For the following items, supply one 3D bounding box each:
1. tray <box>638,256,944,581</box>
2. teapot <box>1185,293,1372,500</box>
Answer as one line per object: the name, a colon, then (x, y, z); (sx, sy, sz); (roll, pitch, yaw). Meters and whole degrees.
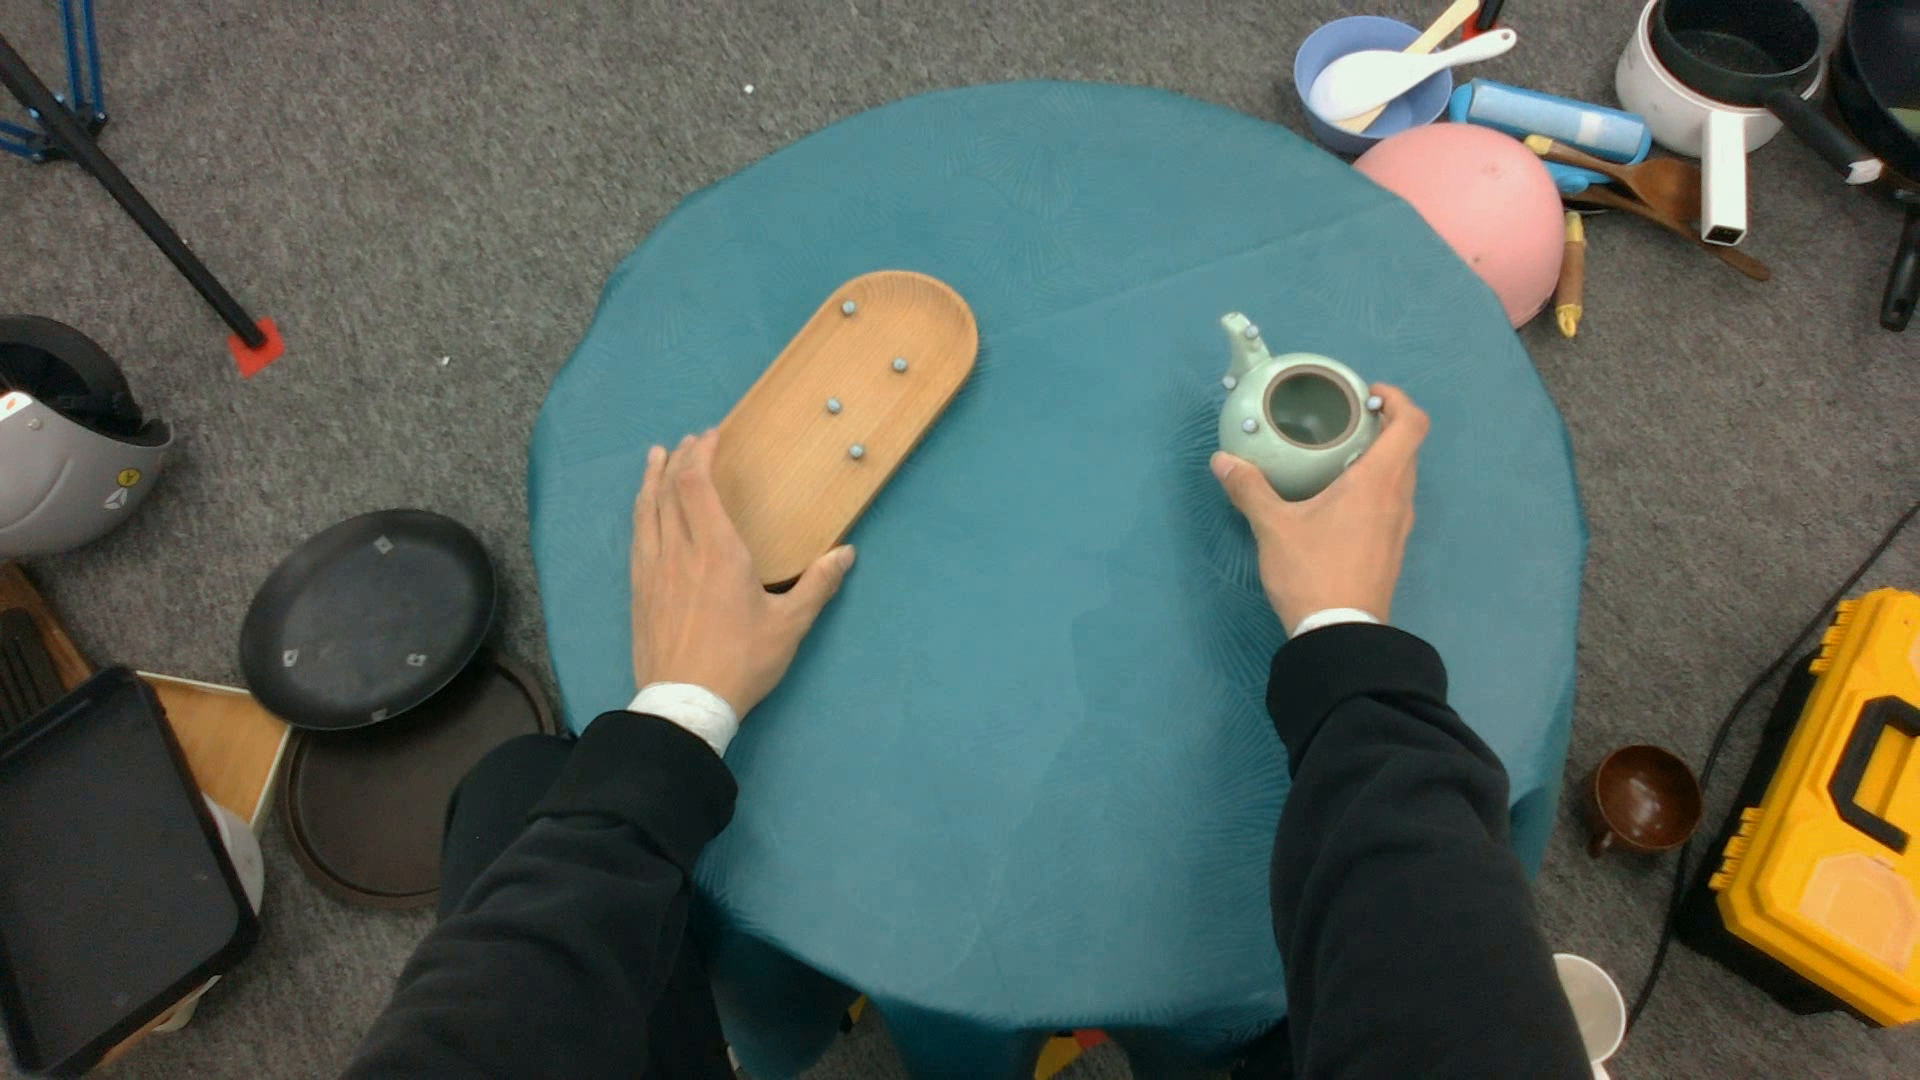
tray: (-0.095, -0.074, 0.801); (0.101, 0.020, 0.232); (29, 70, 14)
teapot: (0.172, -0.073, 0.775); (0.088, 0.074, 0.144); (-34, 70, -14)
